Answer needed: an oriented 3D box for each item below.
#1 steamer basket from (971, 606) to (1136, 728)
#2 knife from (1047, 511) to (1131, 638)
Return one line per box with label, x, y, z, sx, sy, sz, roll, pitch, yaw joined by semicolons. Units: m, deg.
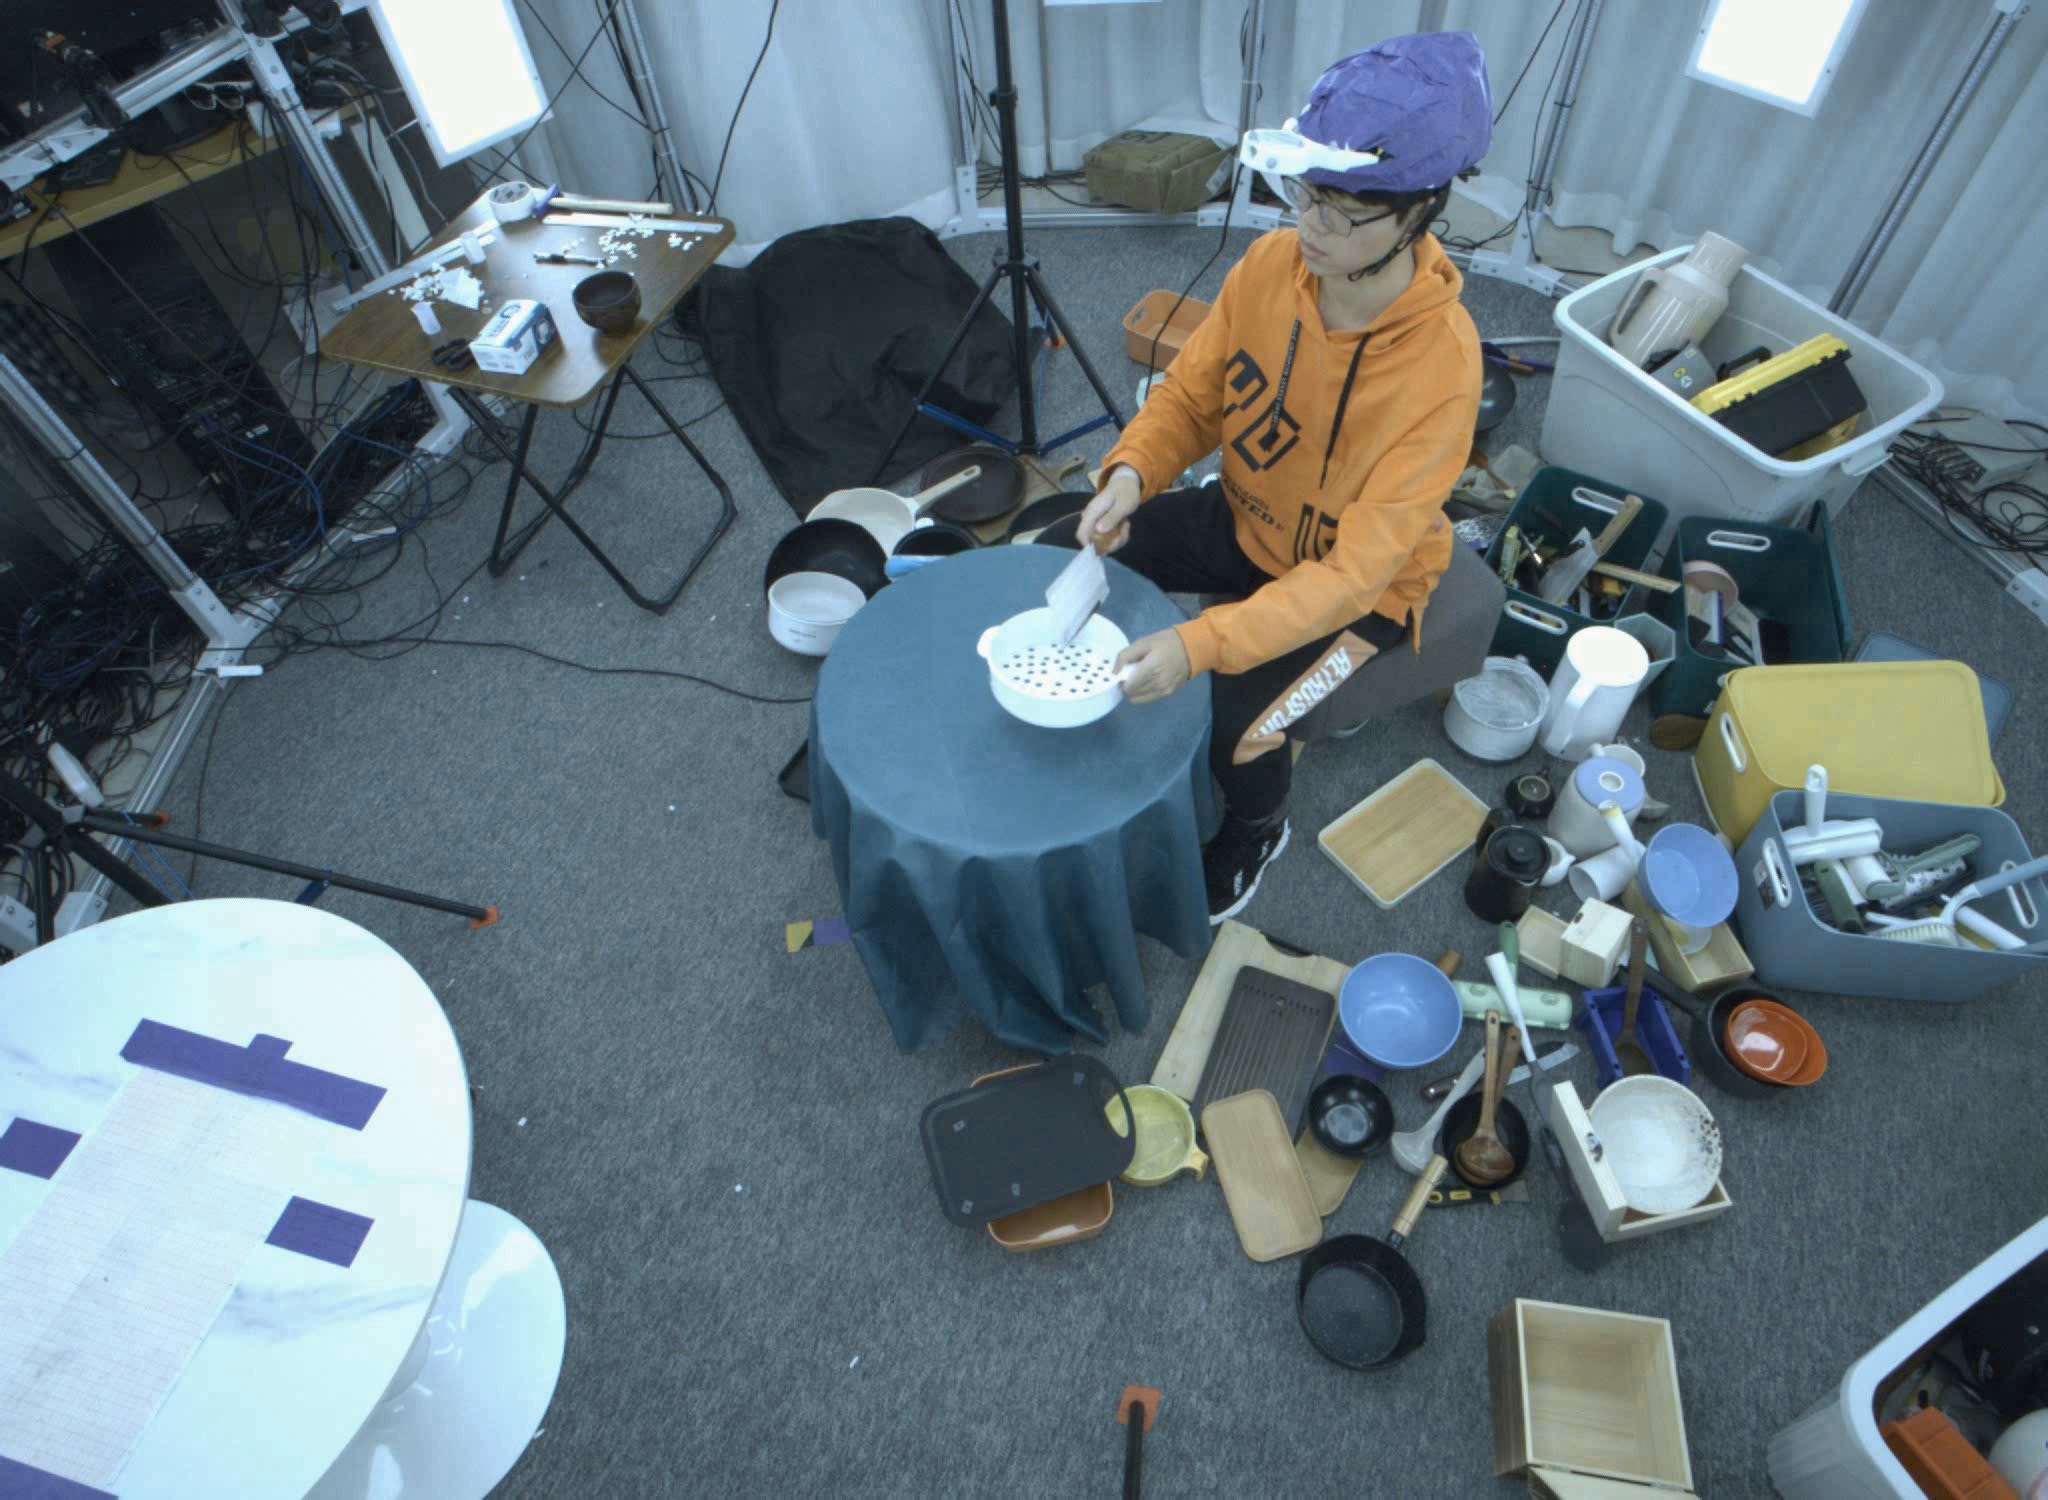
steamer basket;0.042;-0.116;1.732;0.229;0.070;0.201;7;47;11
knife;0.099;-0.253;1.763;0.020;0.094;0.307;-1;31;28
